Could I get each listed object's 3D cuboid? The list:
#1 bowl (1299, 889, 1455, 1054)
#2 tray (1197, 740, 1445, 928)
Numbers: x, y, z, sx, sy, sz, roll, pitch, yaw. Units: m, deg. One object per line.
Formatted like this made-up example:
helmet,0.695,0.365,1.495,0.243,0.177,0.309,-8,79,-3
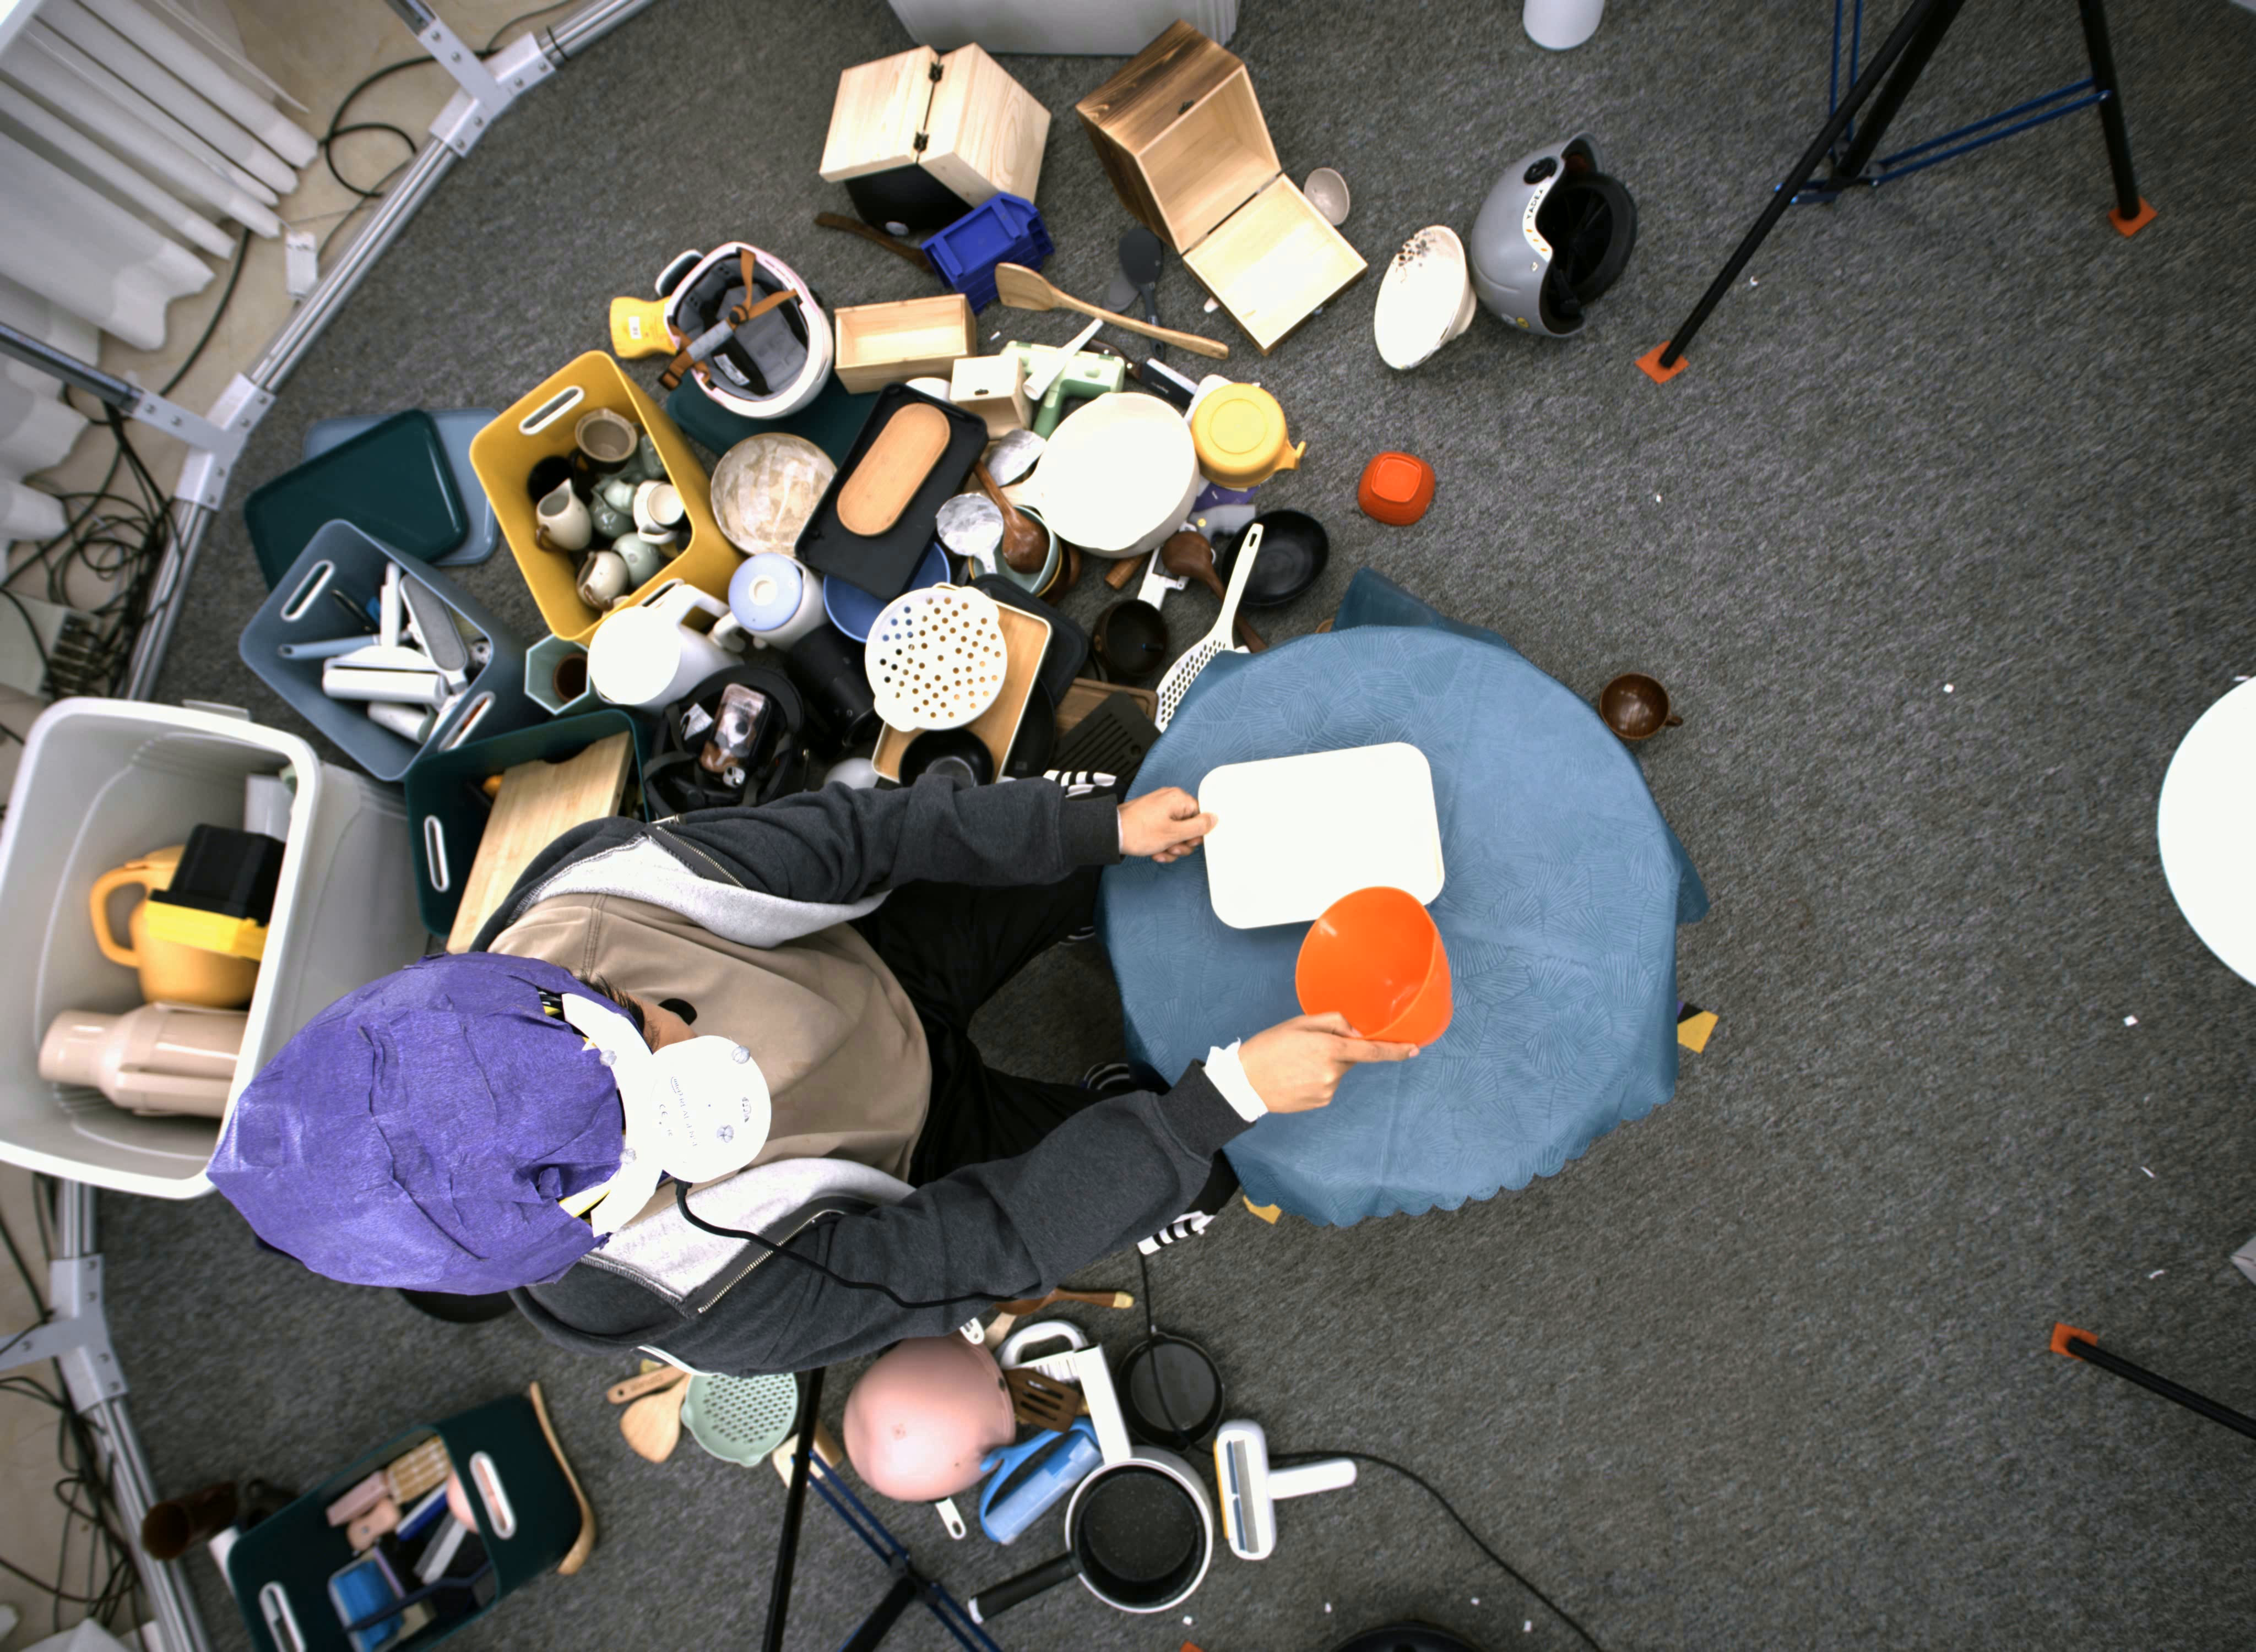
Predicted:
bowl,0.243,0.145,1.274,0.105,0.146,0.148,39,93,-32
tray,0.197,0.008,1.420,0.240,0.017,0.171,-8,88,7
